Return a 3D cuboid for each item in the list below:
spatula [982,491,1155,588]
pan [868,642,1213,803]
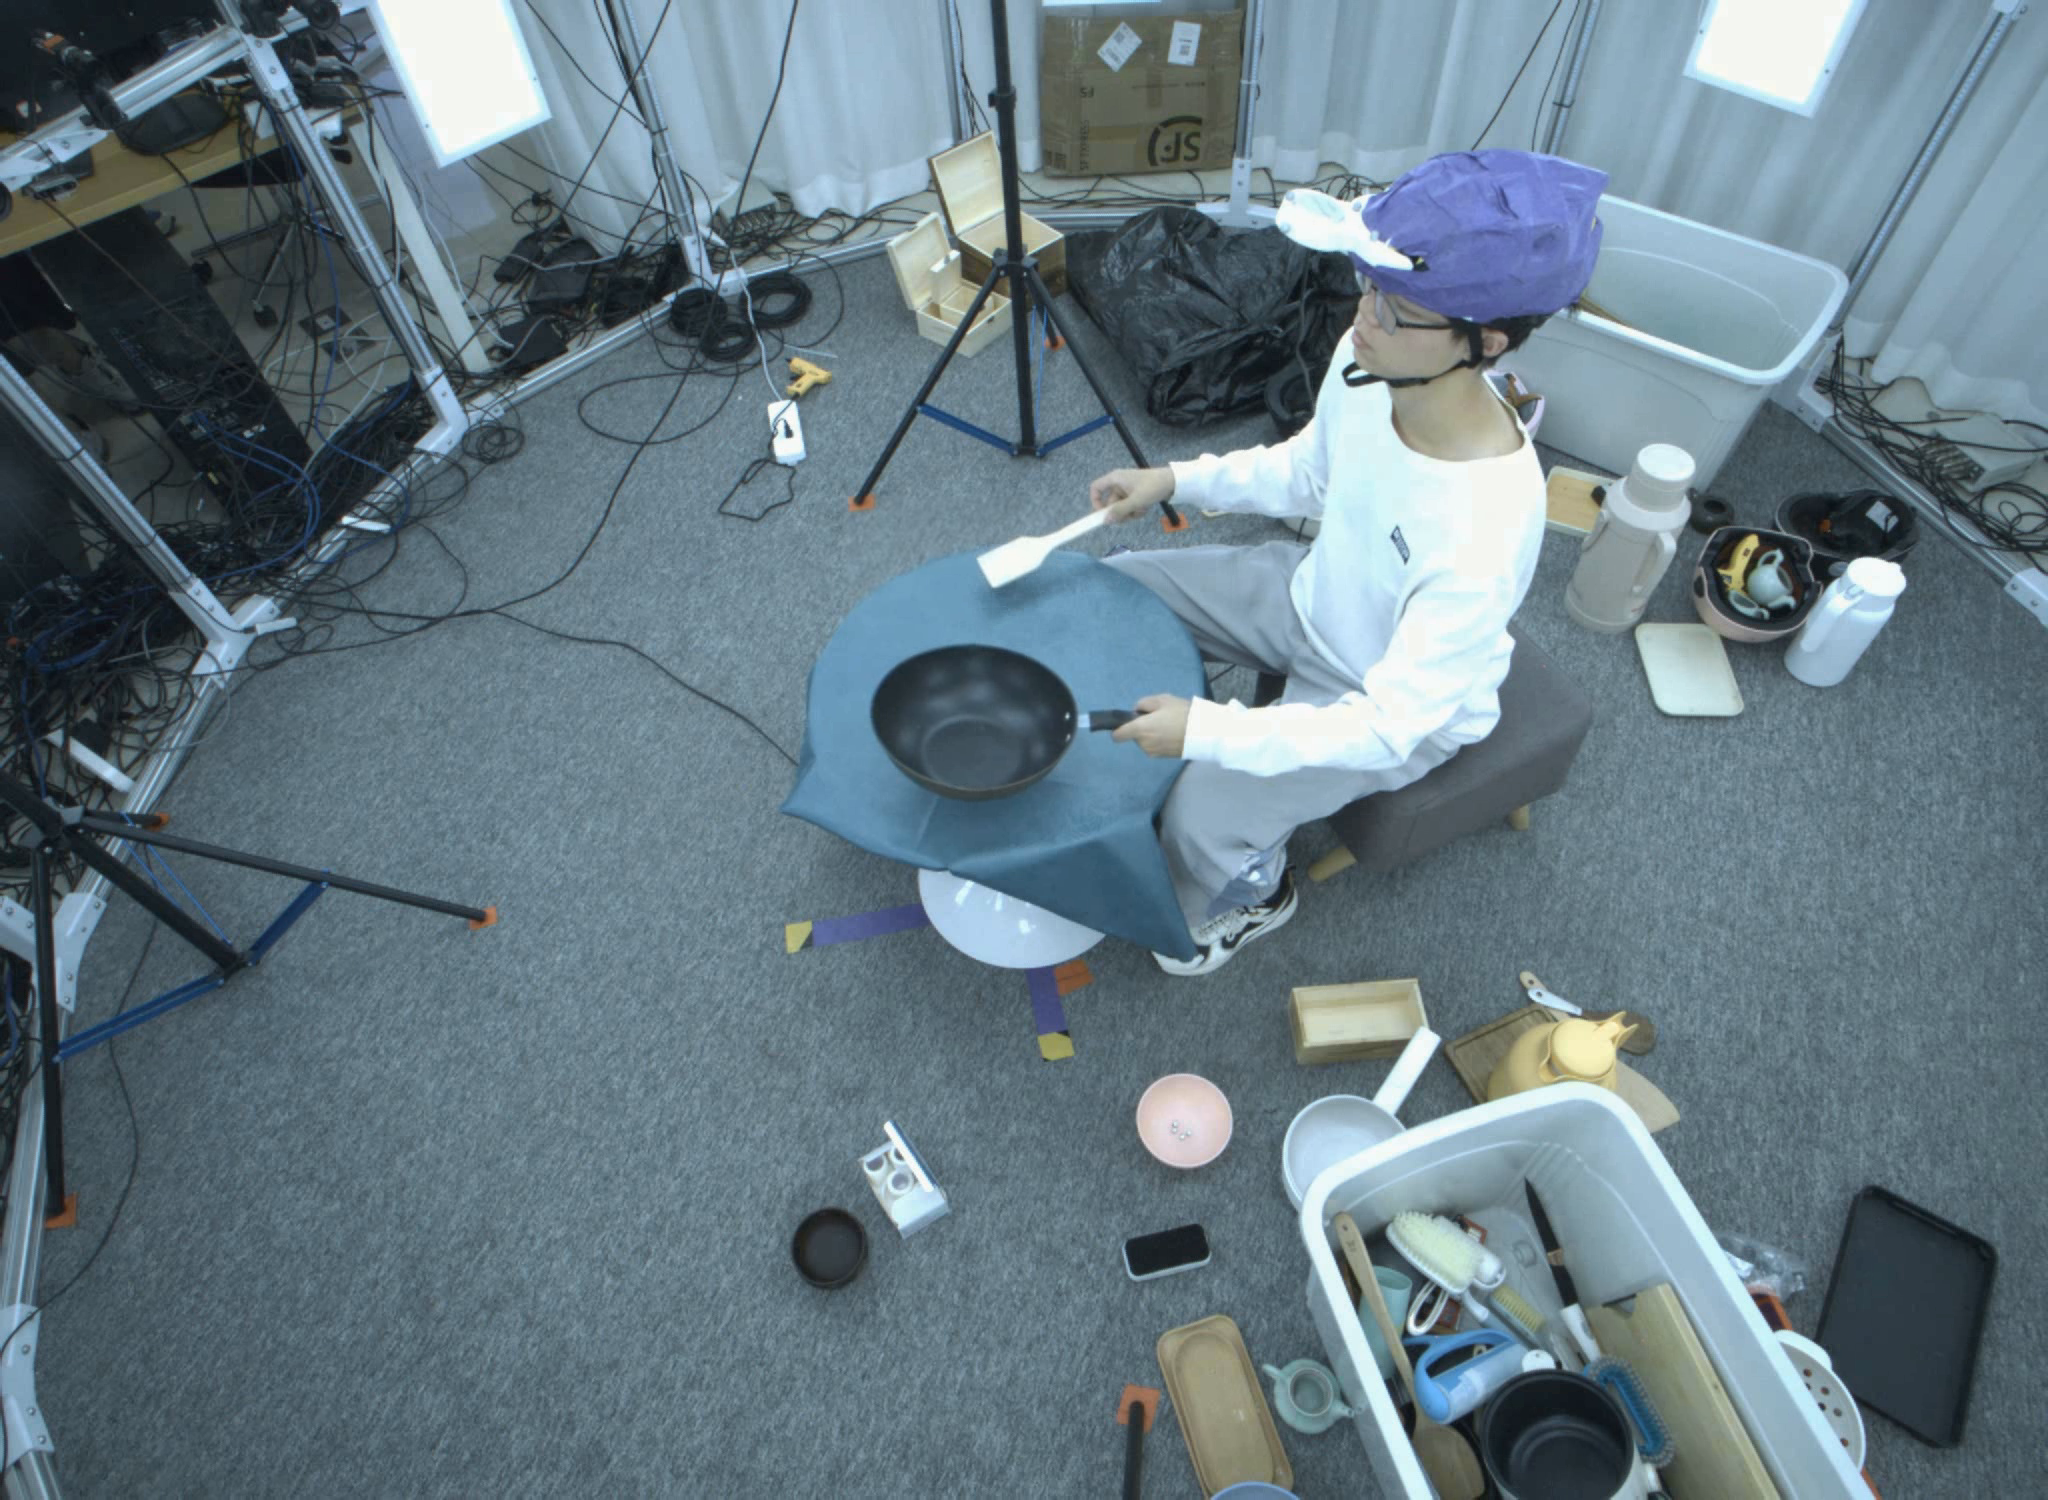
[{"bbox_3d":[0.074,-0.343,1.944,0.293,0.011,0.071,-27,60,-3],"label":"spatula"},{"bbox_3d":[0.022,-0.022,1.670,0.465,0.087,0.284,2,46,-6],"label":"pan"}]
